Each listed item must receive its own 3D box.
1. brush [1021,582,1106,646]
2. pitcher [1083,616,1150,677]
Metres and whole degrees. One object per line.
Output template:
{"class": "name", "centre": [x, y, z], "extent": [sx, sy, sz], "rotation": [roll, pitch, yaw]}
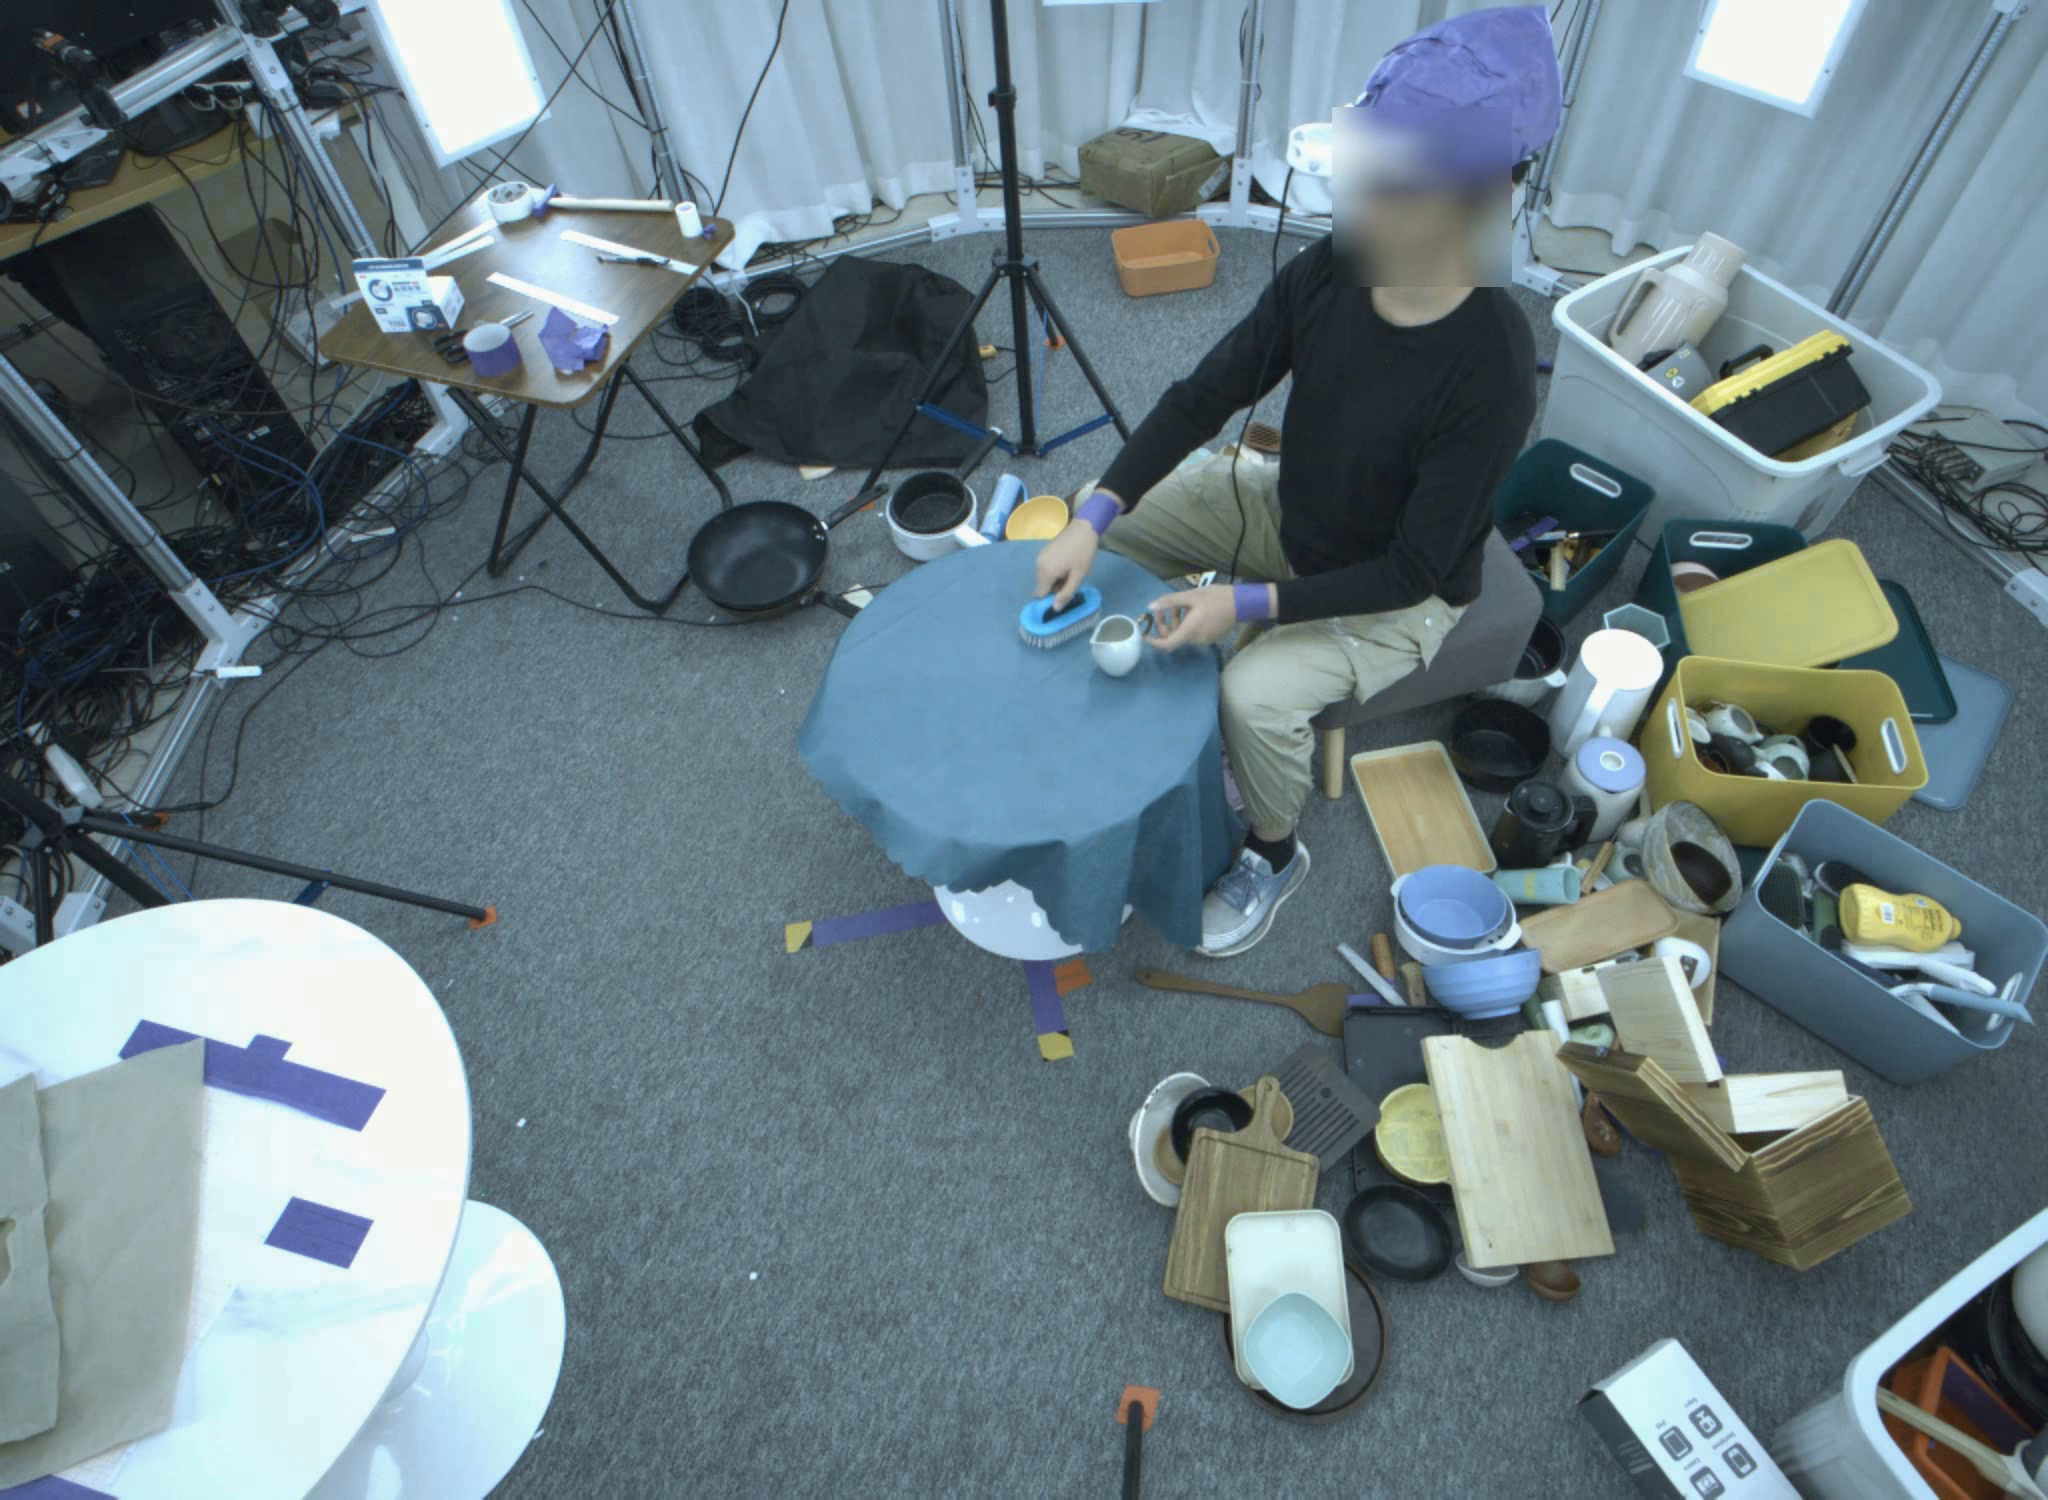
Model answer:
{"class": "brush", "centre": [0.058, -0.222, 1.905], "extent": [0.143, 0.064, 0.082], "rotation": [-28, 53, -17]}
{"class": "pitcher", "centre": [0.138, -0.155, 1.841], "extent": [0.120, 0.089, 0.074], "rotation": [-30, 64, -13]}
